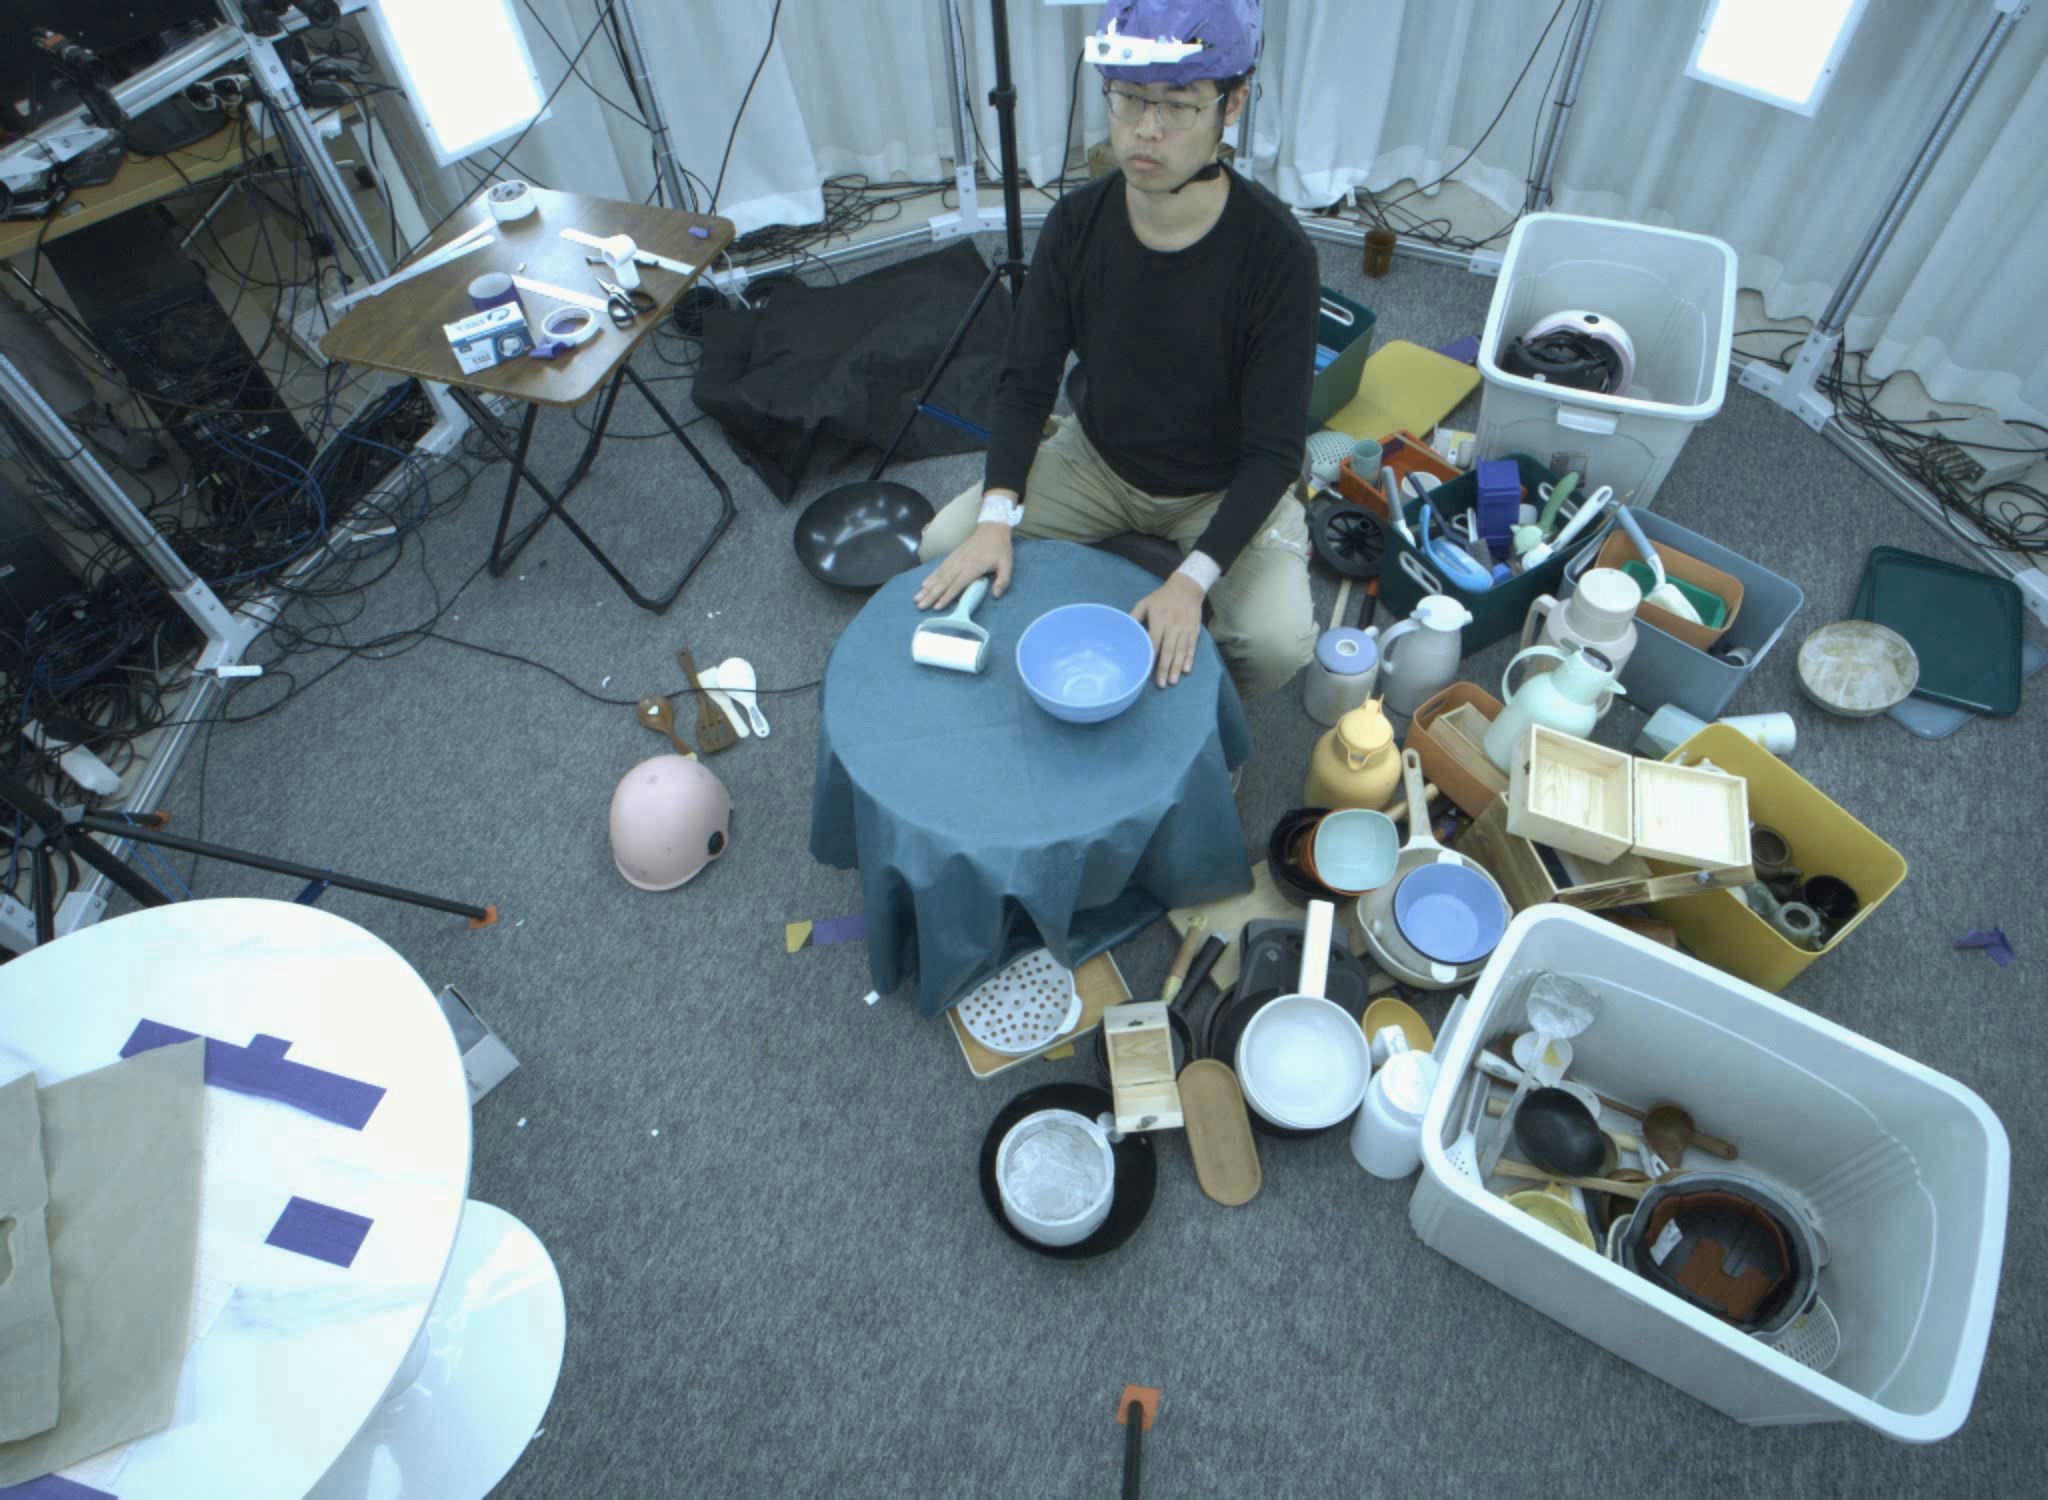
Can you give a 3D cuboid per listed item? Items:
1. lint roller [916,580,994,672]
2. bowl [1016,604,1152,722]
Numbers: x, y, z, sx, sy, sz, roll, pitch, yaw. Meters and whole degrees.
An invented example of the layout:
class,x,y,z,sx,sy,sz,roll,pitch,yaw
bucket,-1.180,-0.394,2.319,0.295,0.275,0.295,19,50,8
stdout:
class,x,y,z,sx,sy,sz,roll,pitch,yaw
lint roller,-0.087,-0.204,1.908,0.115,0.049,0.197,11,54,11
bowl,0.090,-0.112,1.805,0.196,0.096,0.194,-1,54,3
